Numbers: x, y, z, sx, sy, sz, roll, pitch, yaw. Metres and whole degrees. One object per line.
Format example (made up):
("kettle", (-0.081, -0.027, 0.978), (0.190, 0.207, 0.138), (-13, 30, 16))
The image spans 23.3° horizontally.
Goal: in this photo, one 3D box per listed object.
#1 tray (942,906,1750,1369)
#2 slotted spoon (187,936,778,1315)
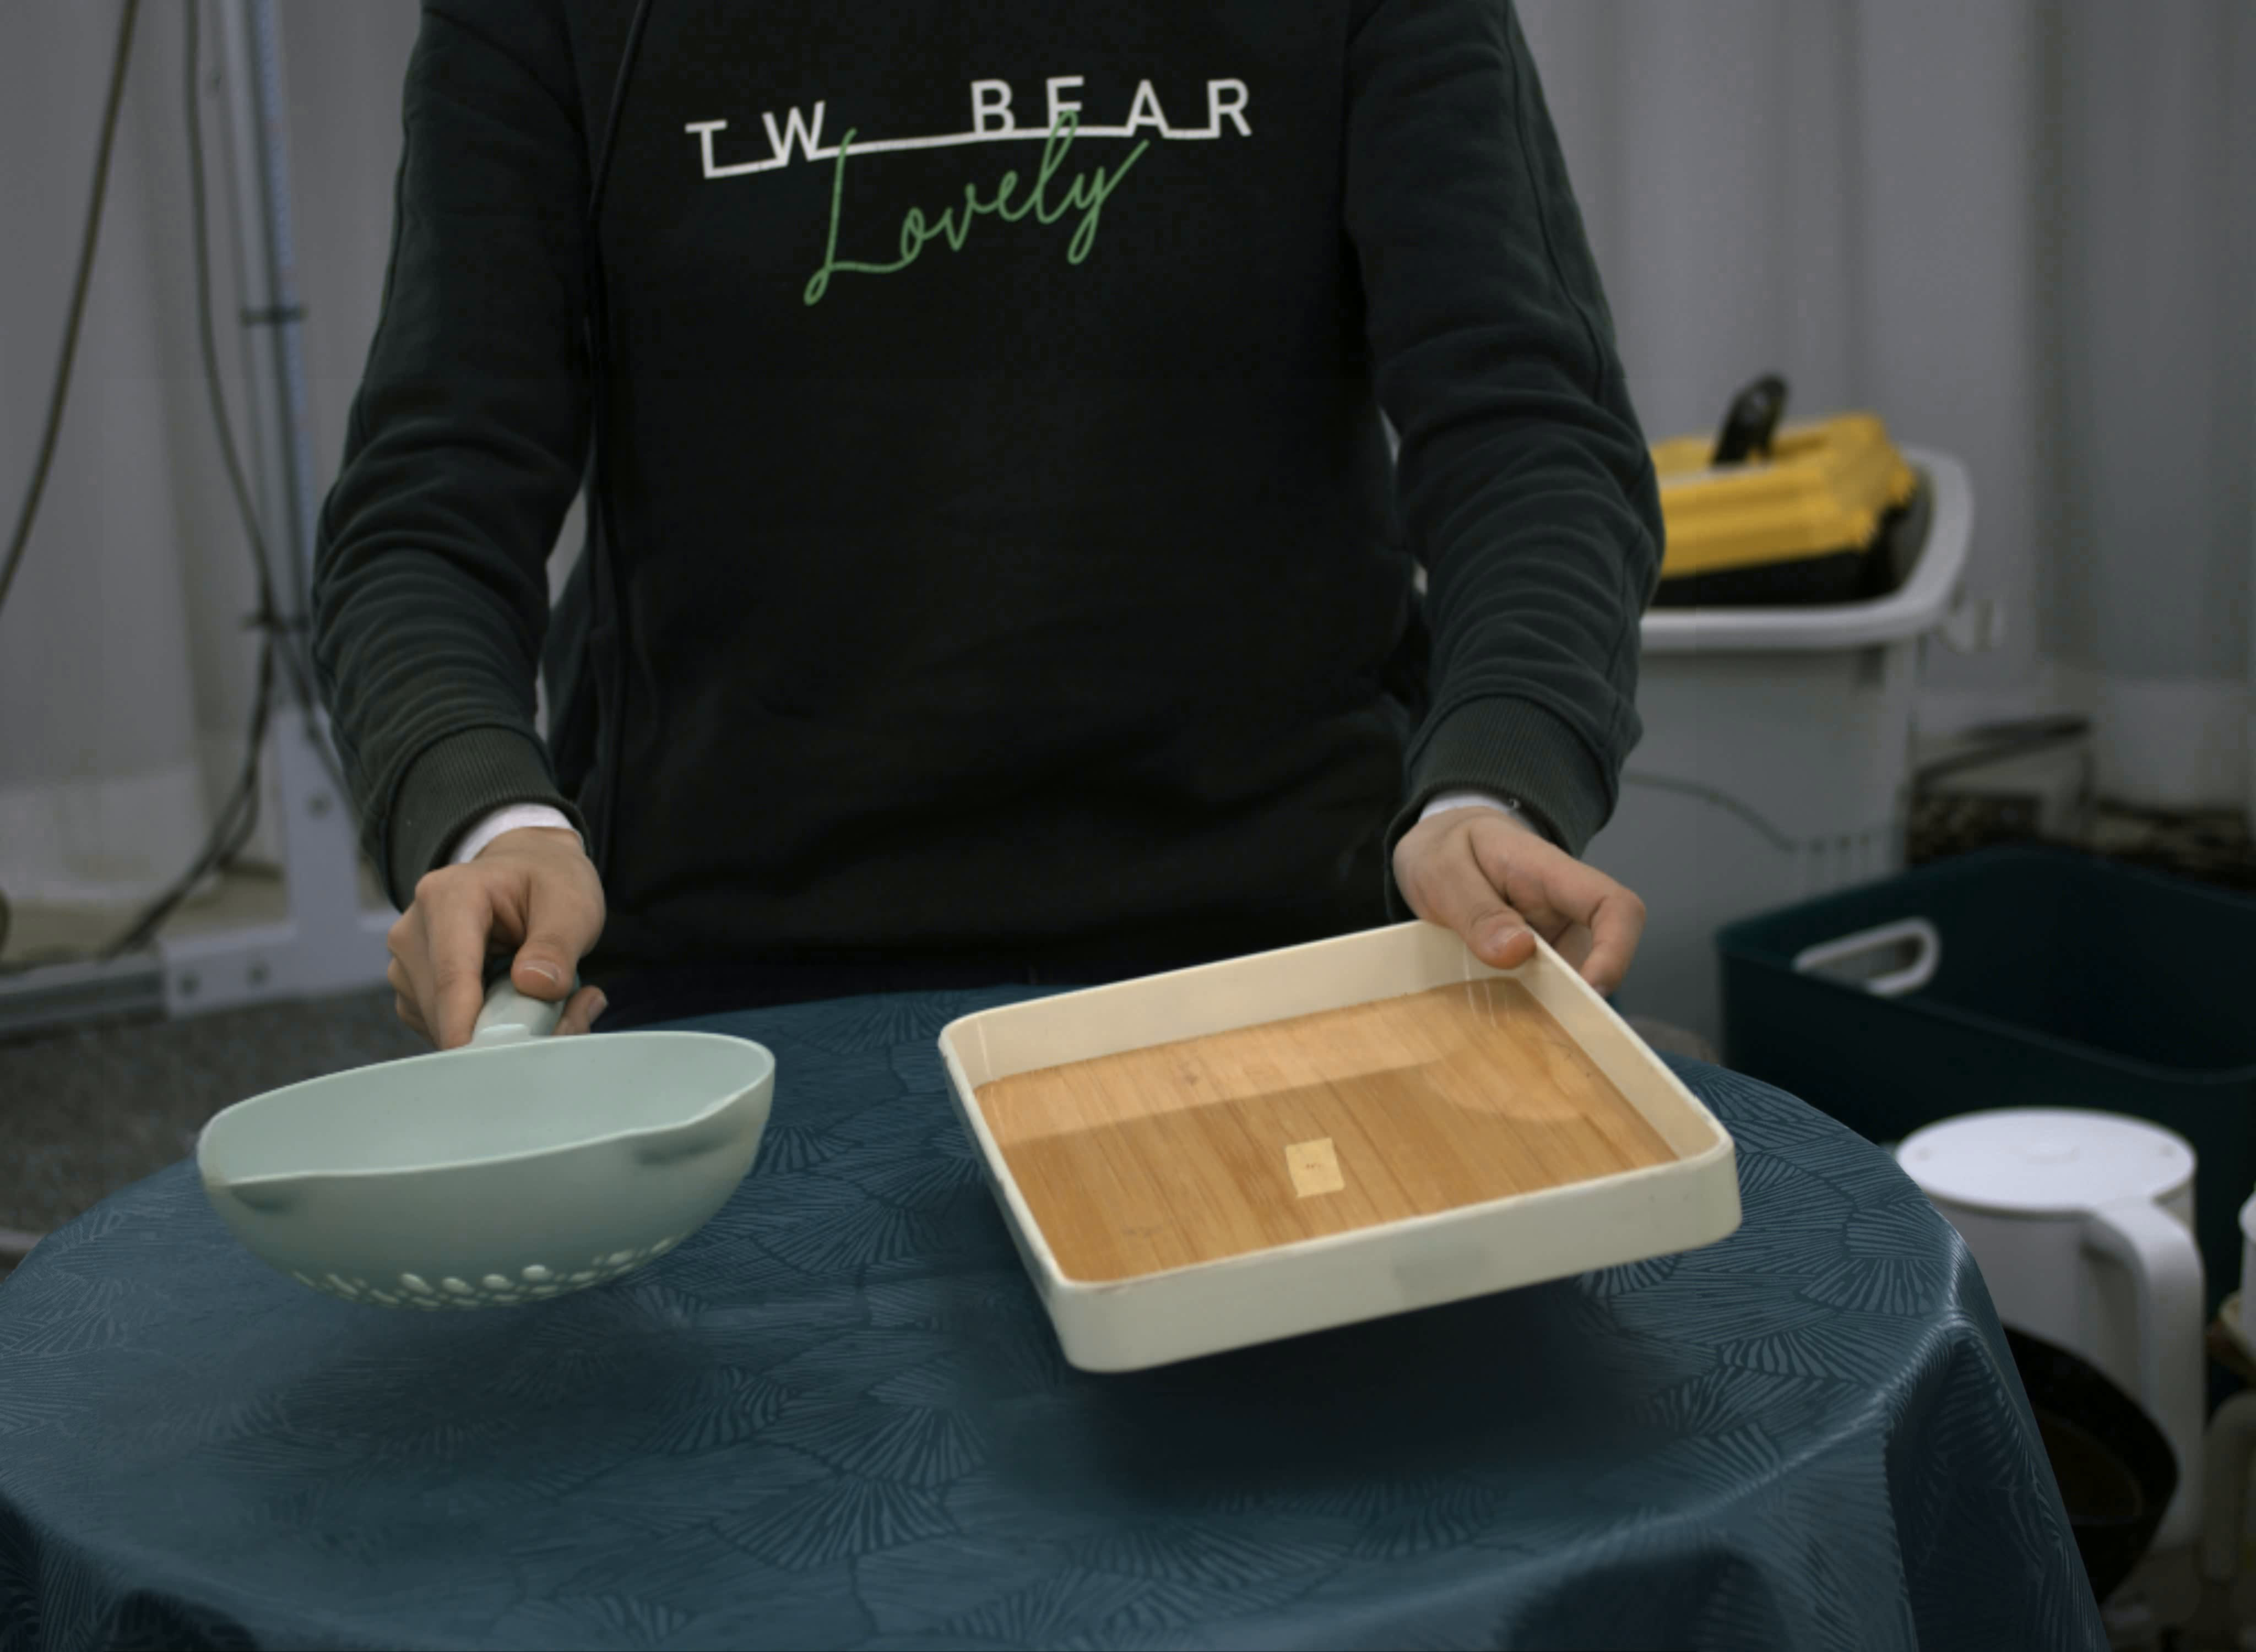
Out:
("tray", (0.055, 0.086, 1.594), (0.191, 0.027, 0.302), (-11, 14, -6))
("slotted spoon", (-0.187, 0.074, 1.653), (0.169, 0.075, 0.362), (-6, 17, -2))
